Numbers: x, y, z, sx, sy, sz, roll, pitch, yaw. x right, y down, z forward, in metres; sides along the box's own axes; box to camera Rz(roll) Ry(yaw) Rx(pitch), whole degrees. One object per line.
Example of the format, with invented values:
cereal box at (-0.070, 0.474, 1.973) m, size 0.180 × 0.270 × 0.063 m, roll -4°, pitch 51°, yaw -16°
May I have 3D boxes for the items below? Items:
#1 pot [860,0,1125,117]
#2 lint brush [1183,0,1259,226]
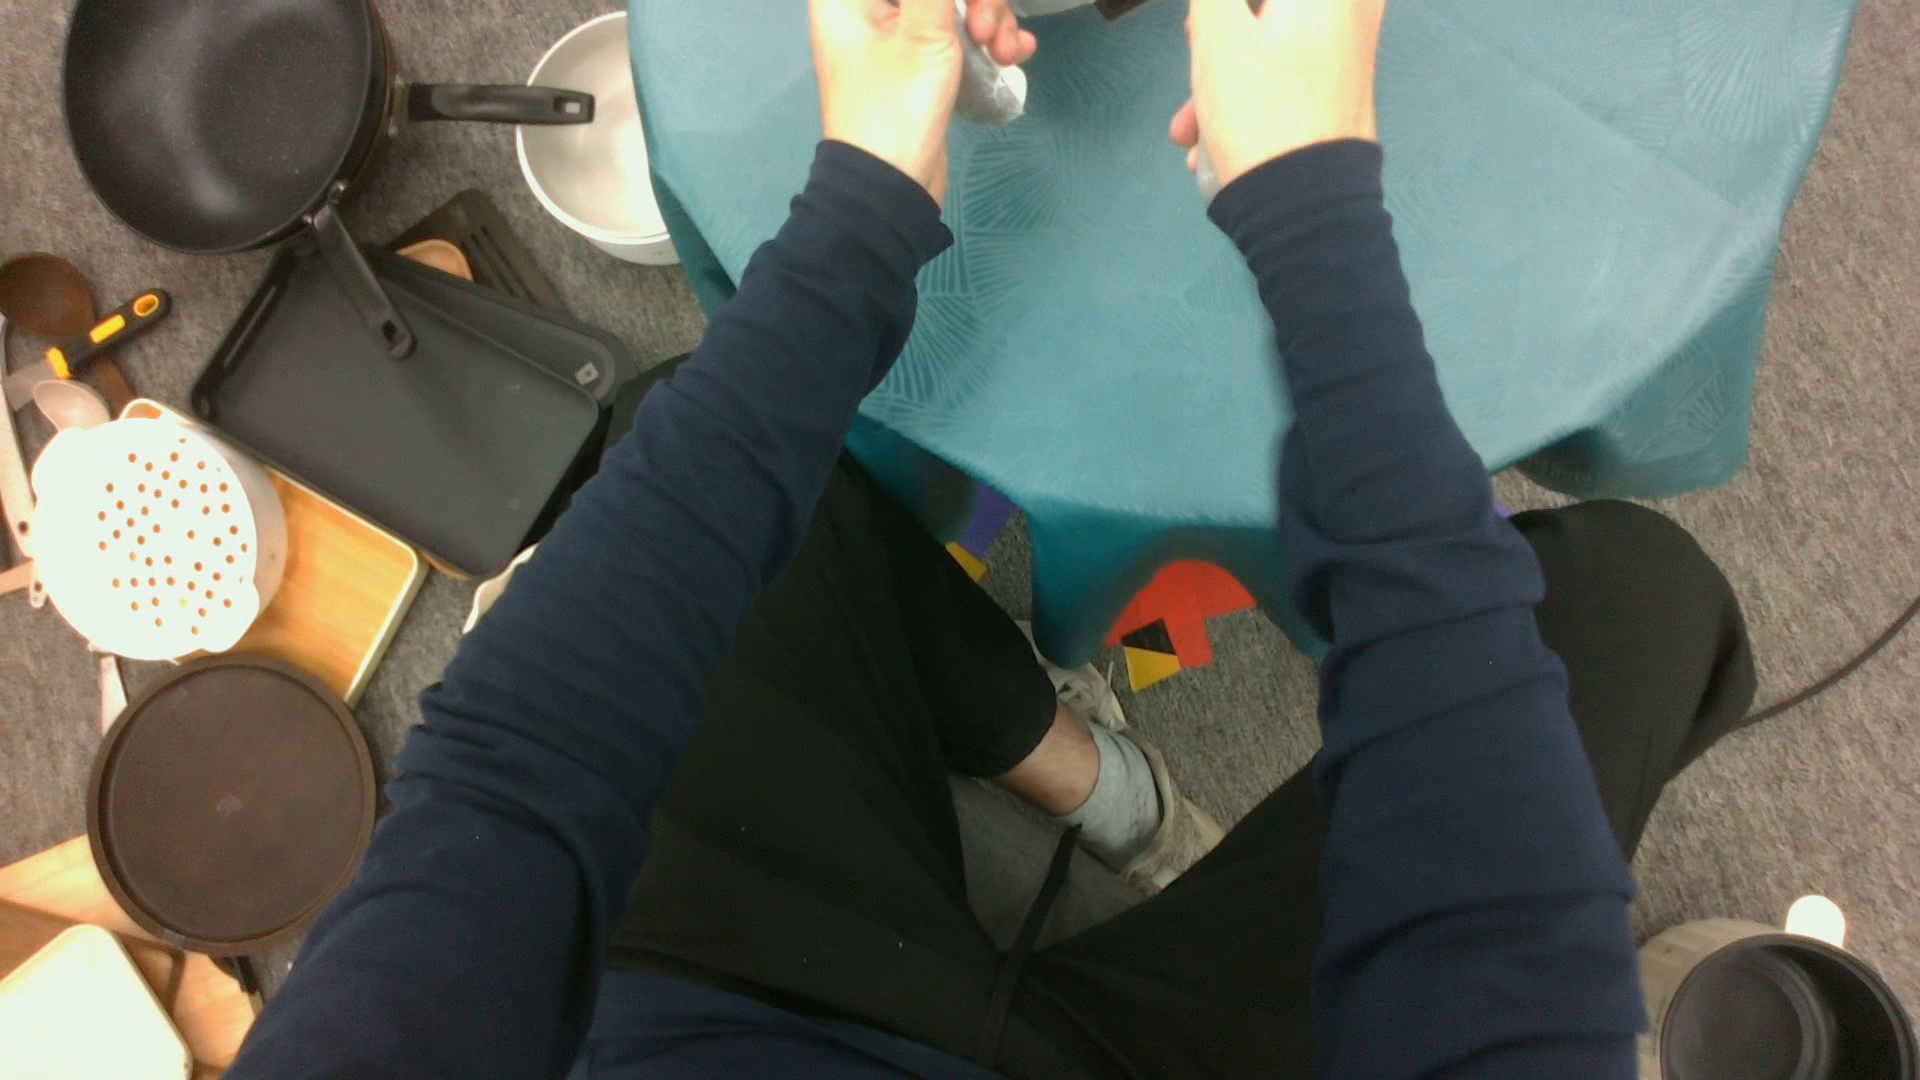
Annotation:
pot at (0.020, -0.303, 0.578) m, size 0.178 × 0.136 × 0.234 m, roll 11°, pitch 73°, yaw 43°
lint brush at (0.103, -0.270, 0.517) m, size 0.021 × 0.060 × 0.309 m, roll 0°, pitch 84°, yaw 40°
